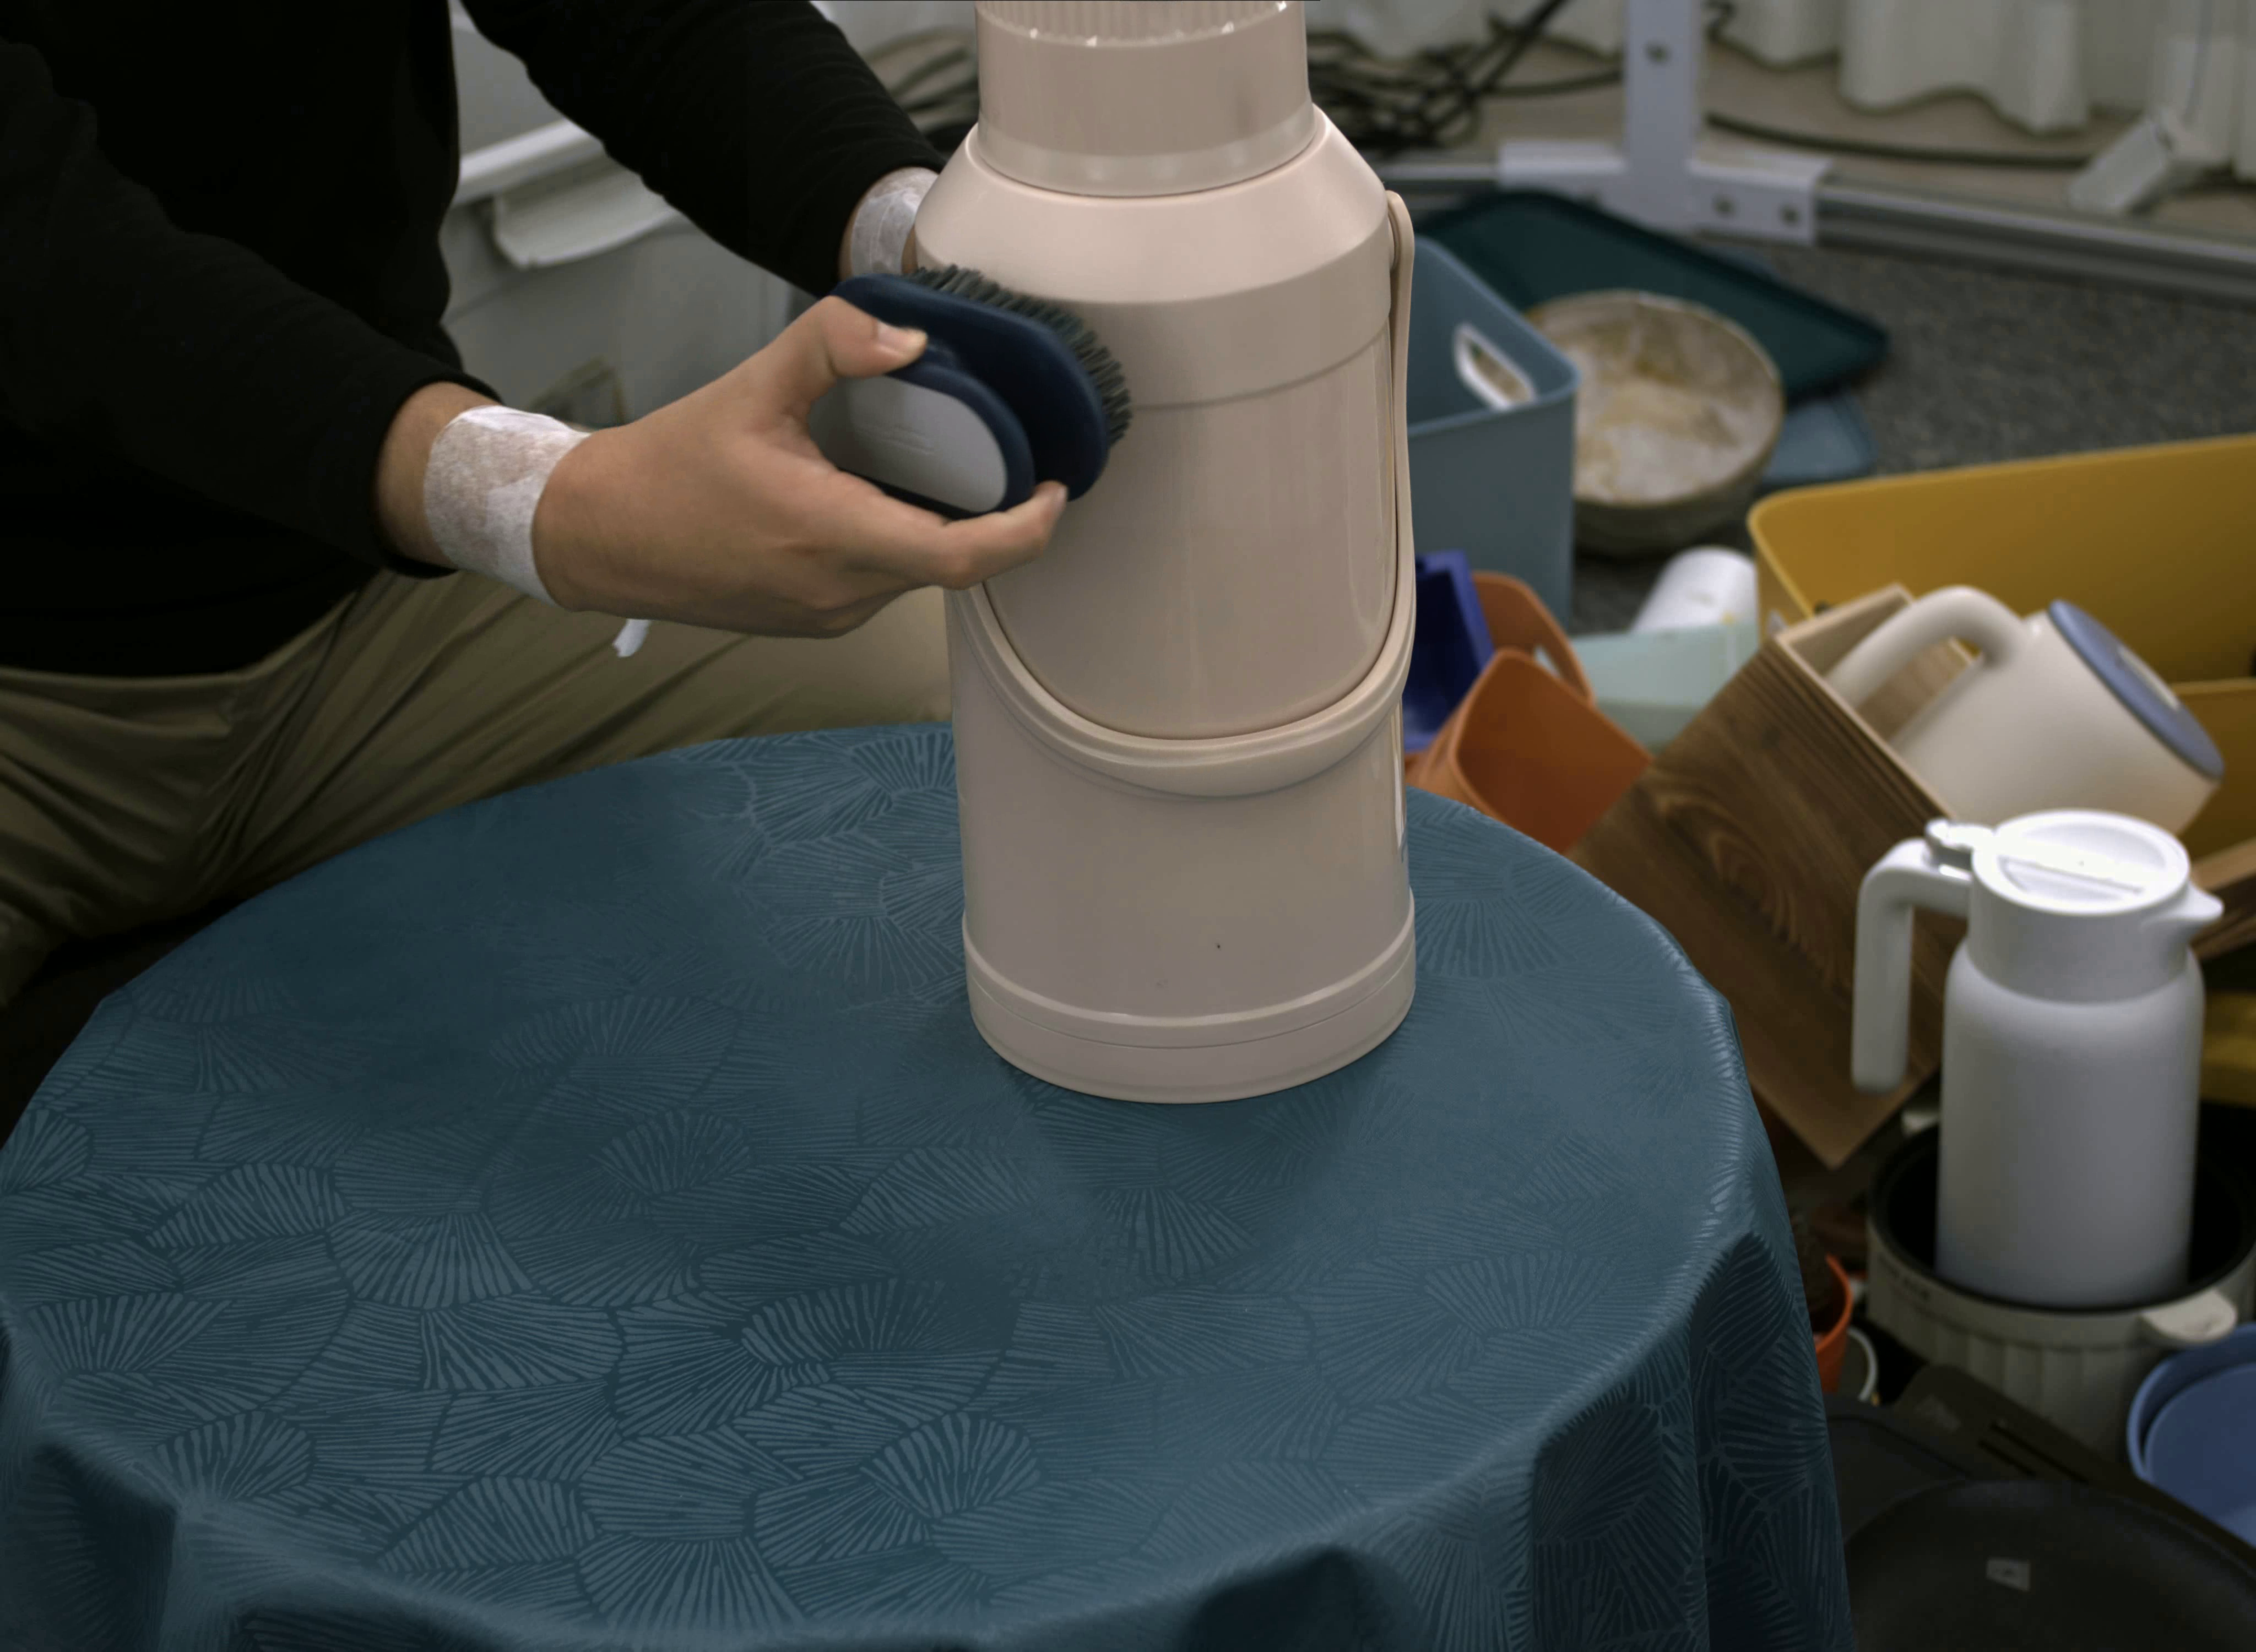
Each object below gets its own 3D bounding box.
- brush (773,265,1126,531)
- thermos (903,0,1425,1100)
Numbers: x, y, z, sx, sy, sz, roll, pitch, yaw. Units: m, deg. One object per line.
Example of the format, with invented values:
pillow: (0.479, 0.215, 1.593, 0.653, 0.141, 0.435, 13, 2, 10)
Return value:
brush: (-0.055, -0.138, 1.789, 0.121, 0.067, 0.062, 24, 46, 38)
thermos: (0.011, -0.124, 1.909, 0.175, 0.402, 0.209, -13, 28, -16)
